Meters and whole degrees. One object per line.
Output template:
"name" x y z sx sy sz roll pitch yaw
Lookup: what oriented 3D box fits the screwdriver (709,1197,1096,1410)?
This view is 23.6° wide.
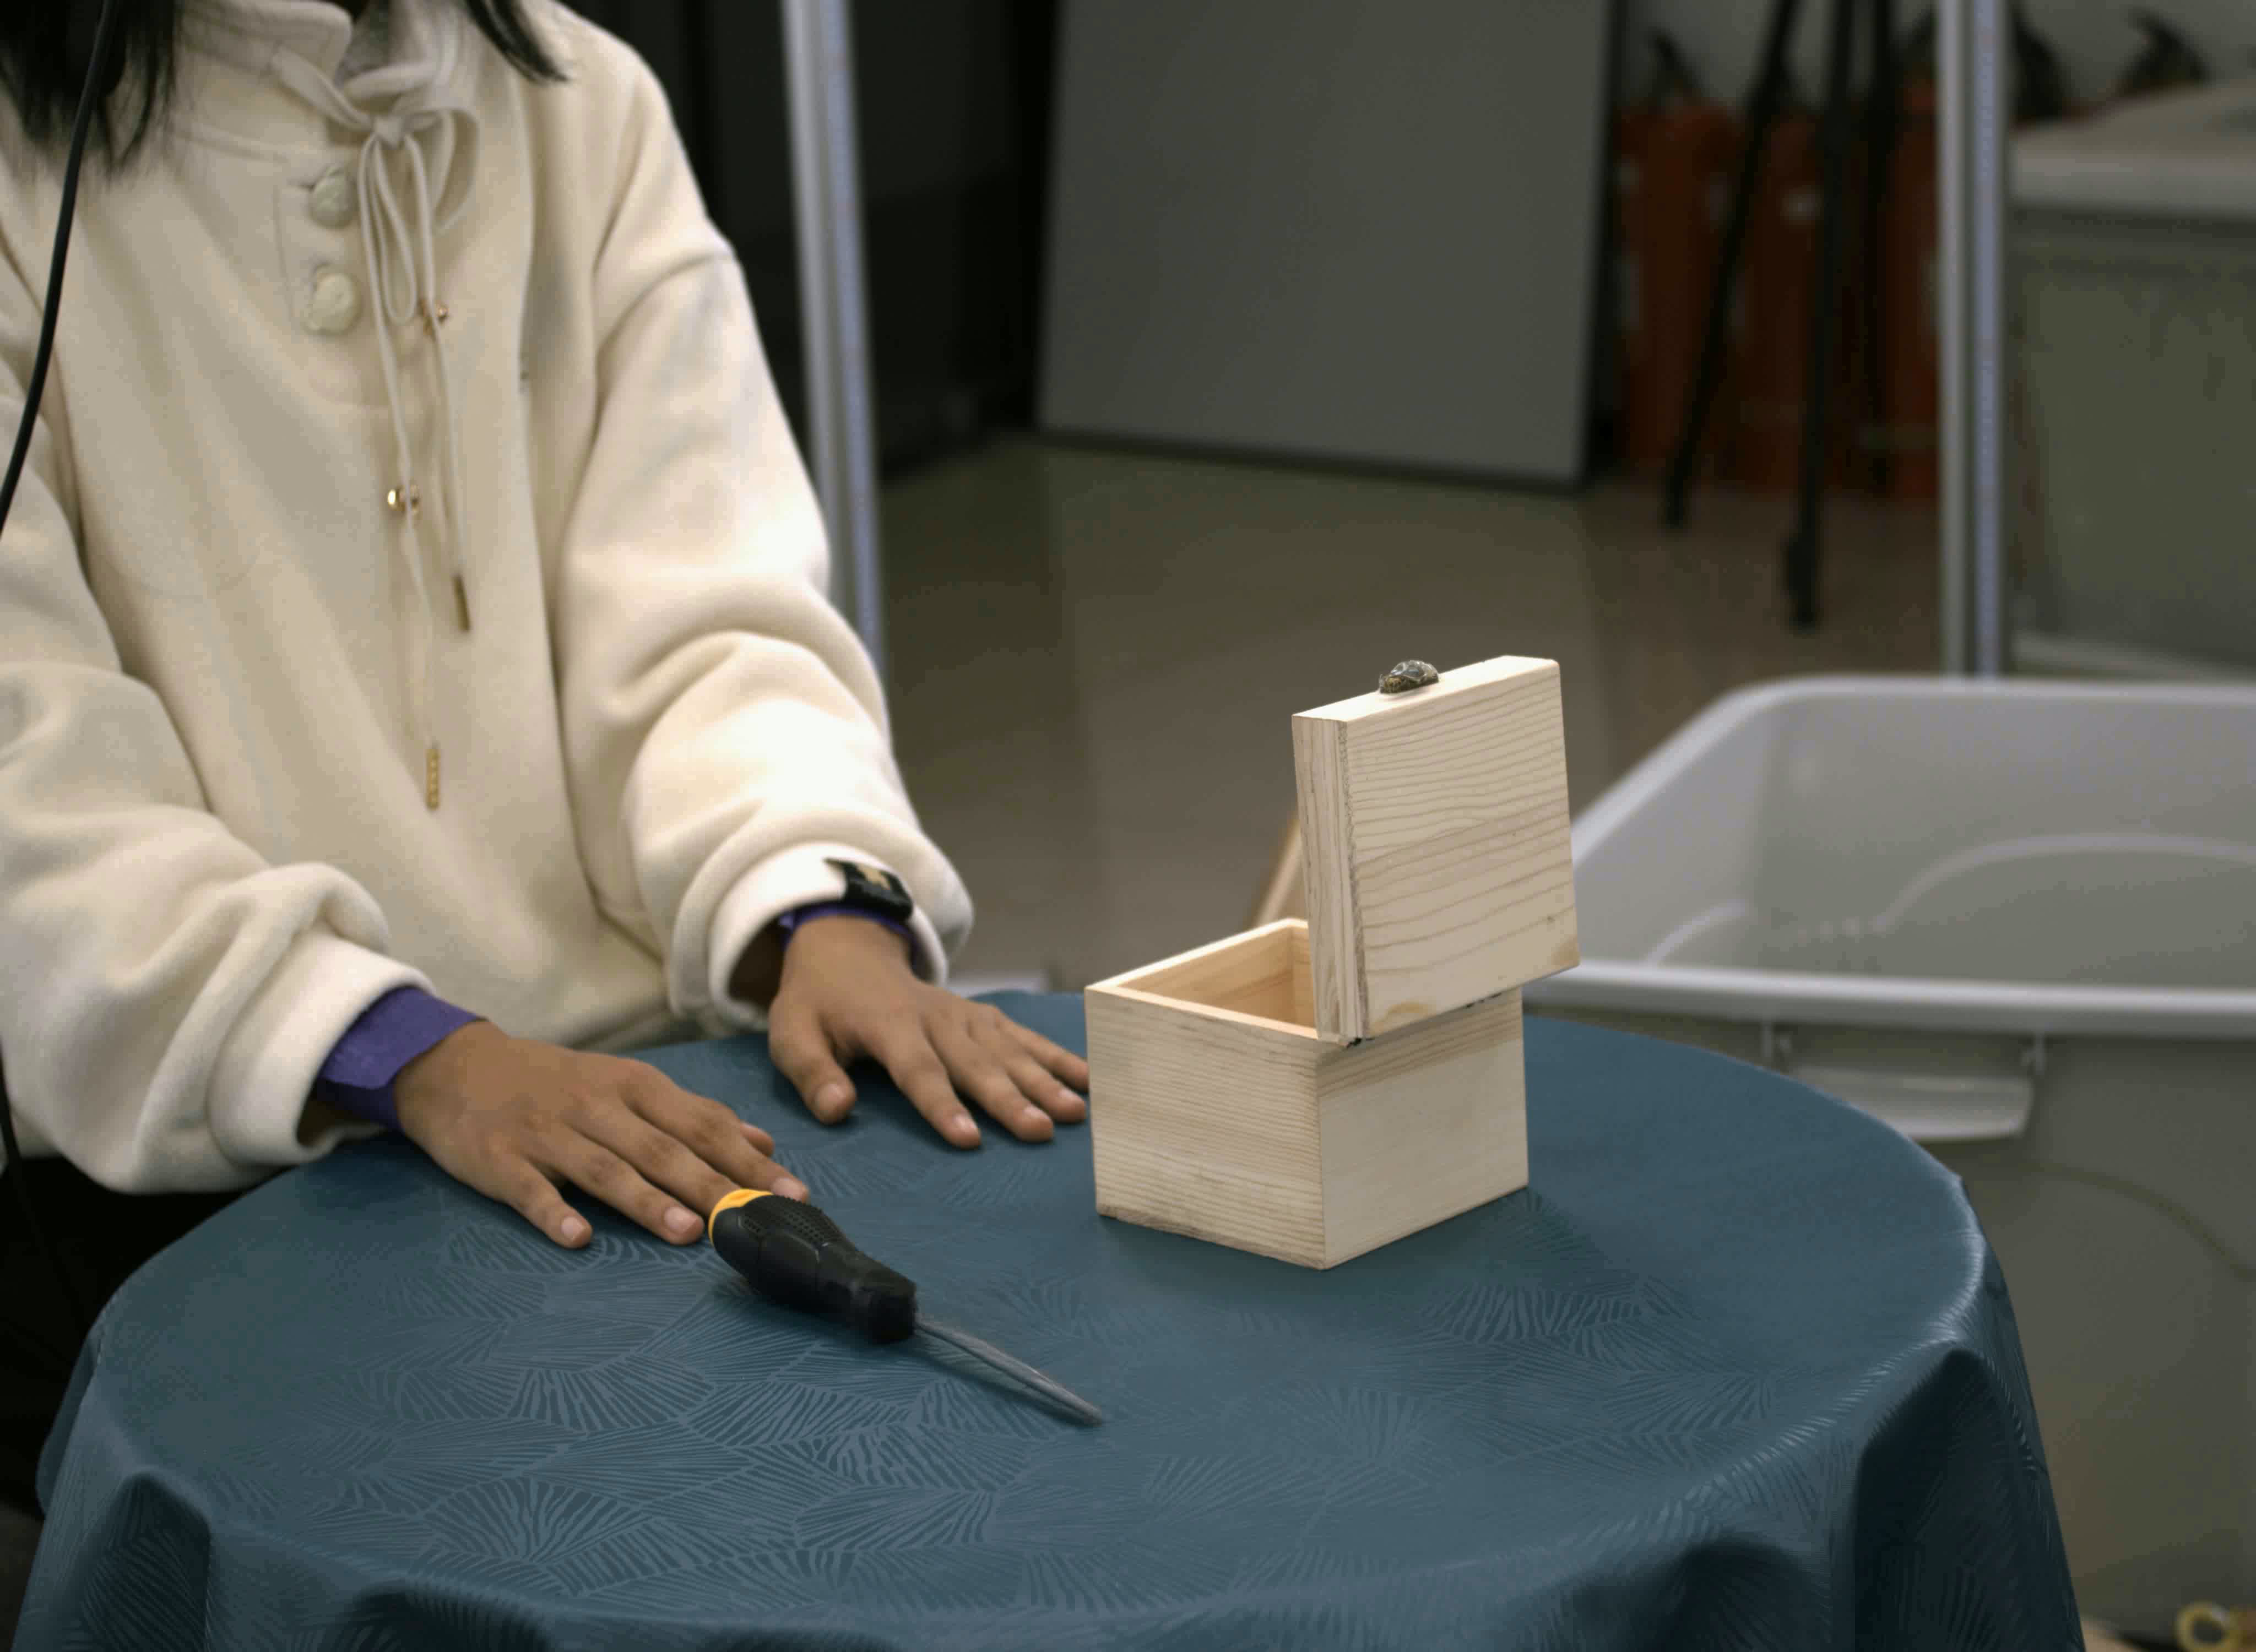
"screwdriver" -0.071 0.148 1.635 0.031 0.032 0.200 -12 18 -31

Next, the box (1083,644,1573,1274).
"box" 0.061 0.034 1.719 0.100 0.186 0.135 -17 20 -42
